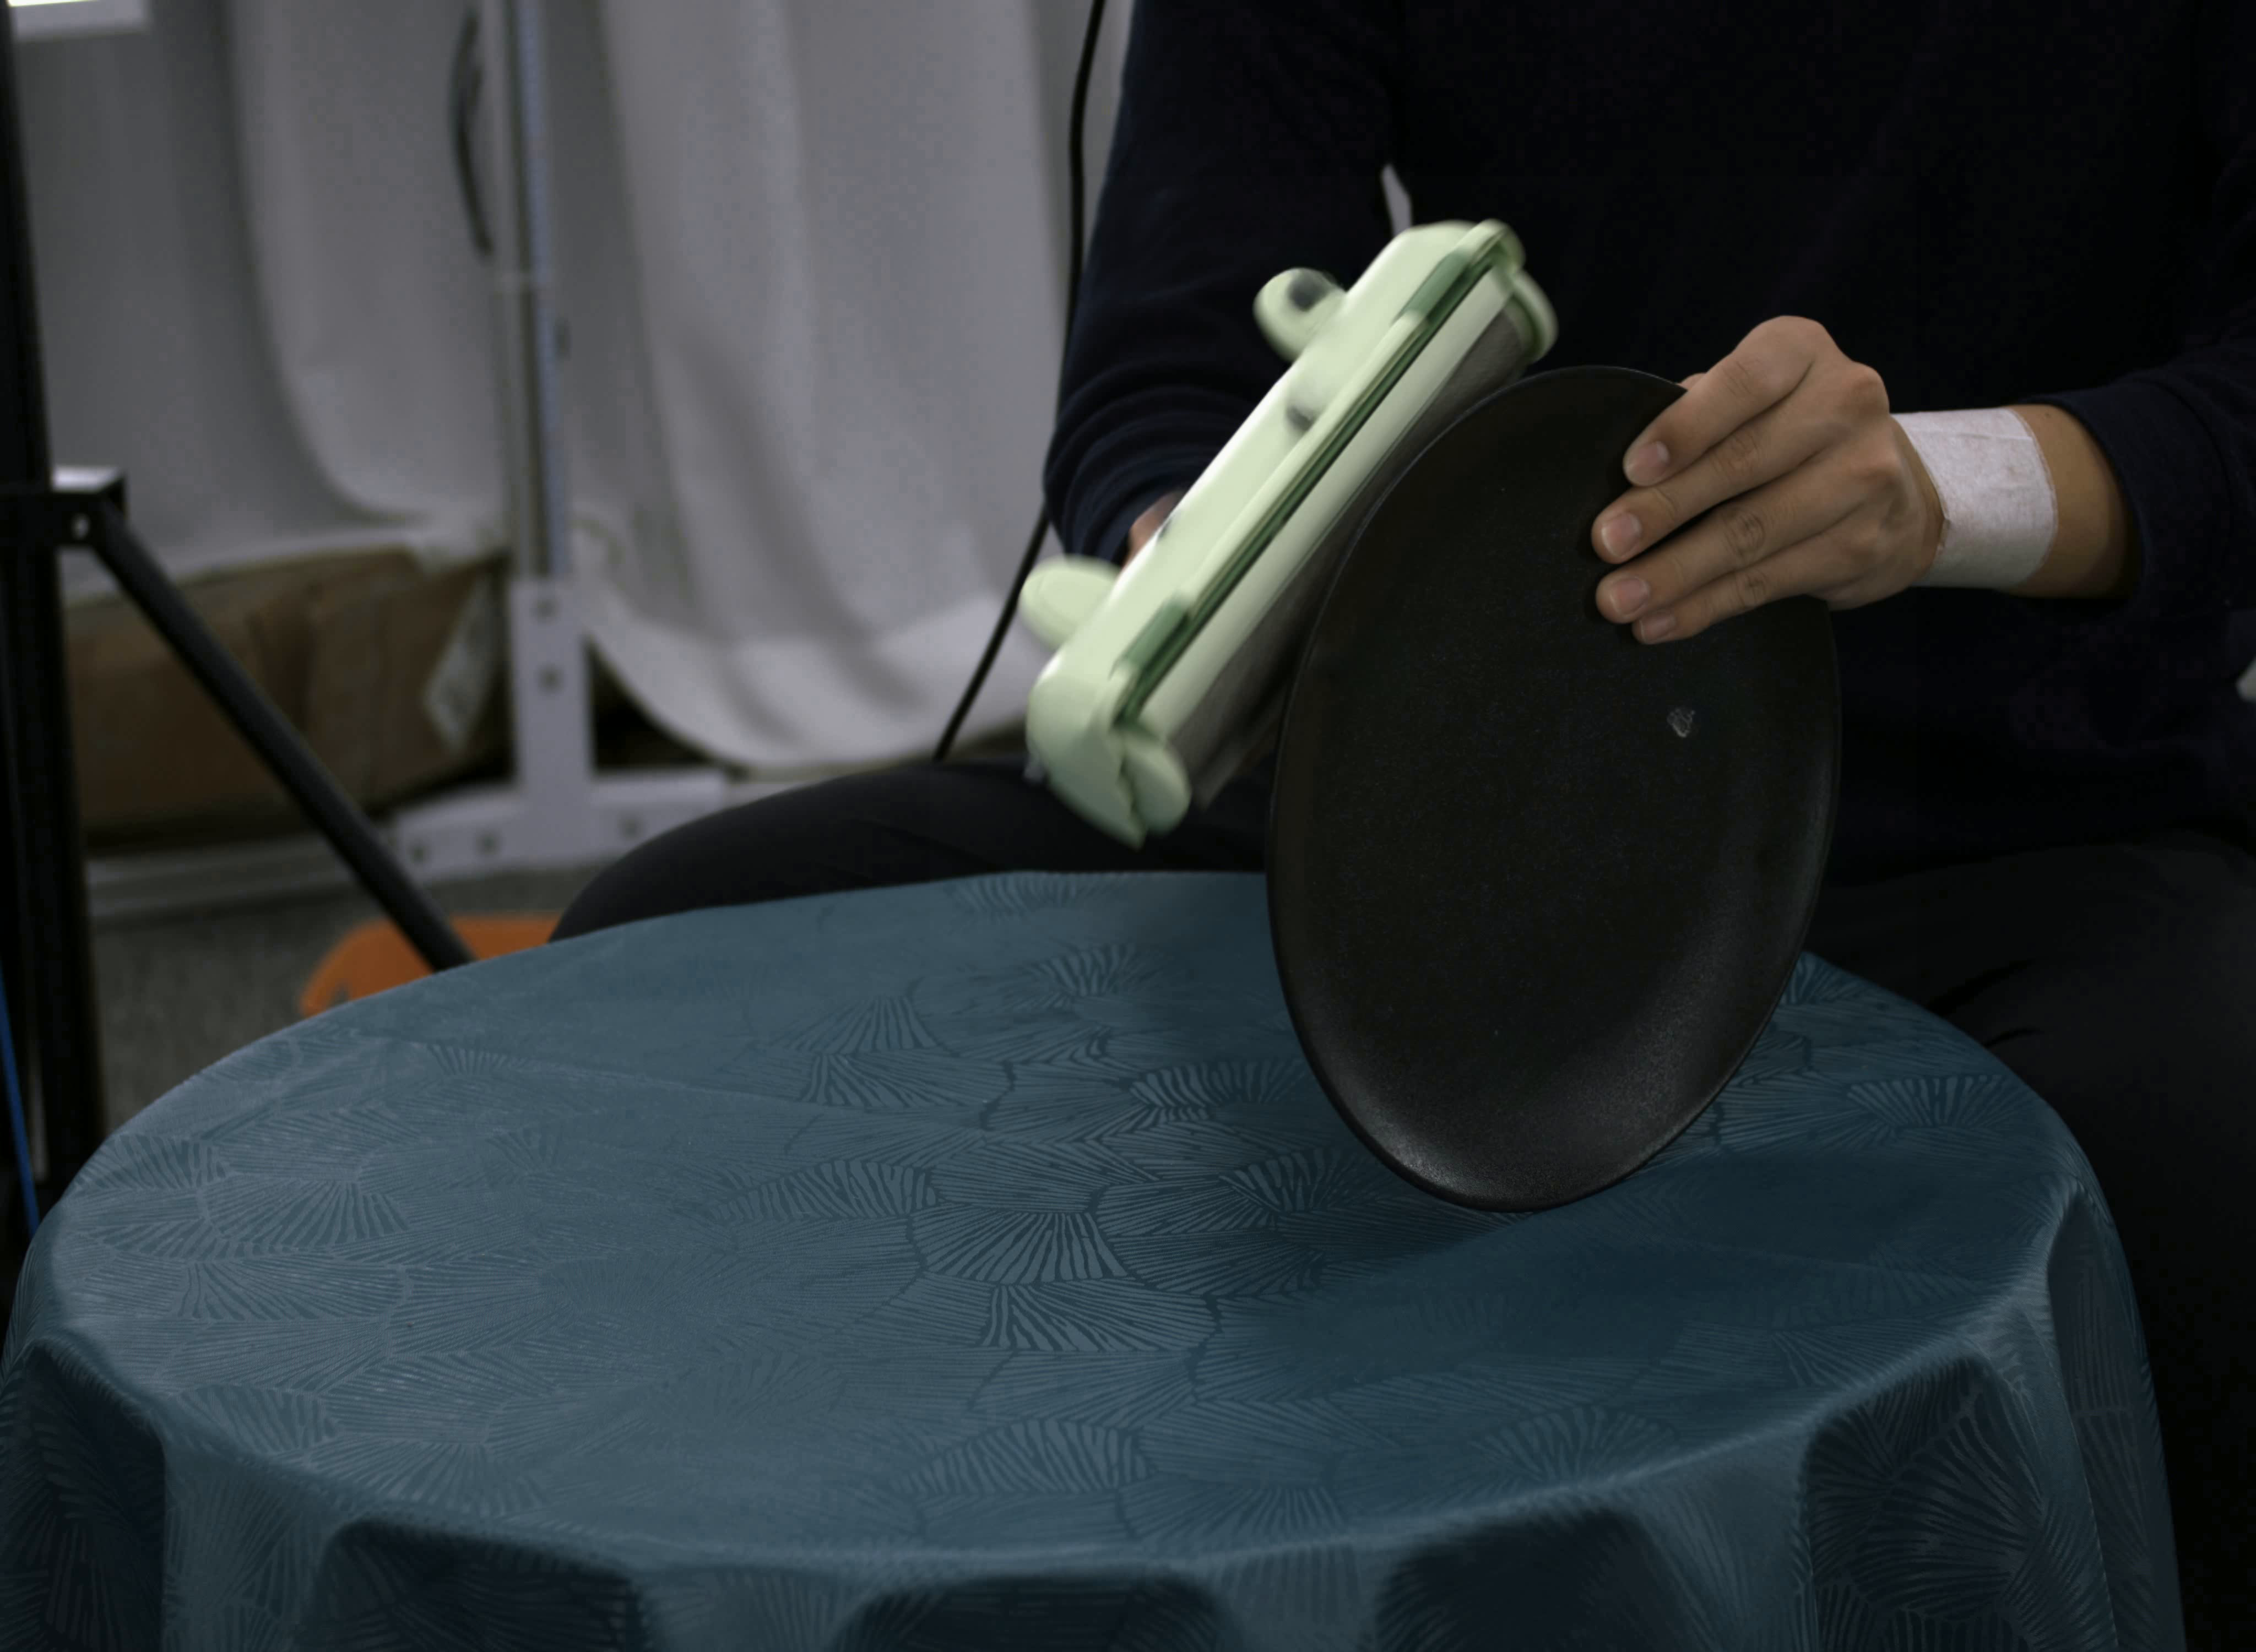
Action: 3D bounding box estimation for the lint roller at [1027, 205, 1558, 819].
[{"bbox_3d":[0.025,-0.080,1.518,0.197,0.082,0.185,-50,5,-23],"label":"lint roller"}]

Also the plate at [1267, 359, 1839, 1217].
[{"bbox_3d":[0.118,-0.010,1.510,0.239,0.244,0.024,-16,18,-41],"label":"plate"}]
